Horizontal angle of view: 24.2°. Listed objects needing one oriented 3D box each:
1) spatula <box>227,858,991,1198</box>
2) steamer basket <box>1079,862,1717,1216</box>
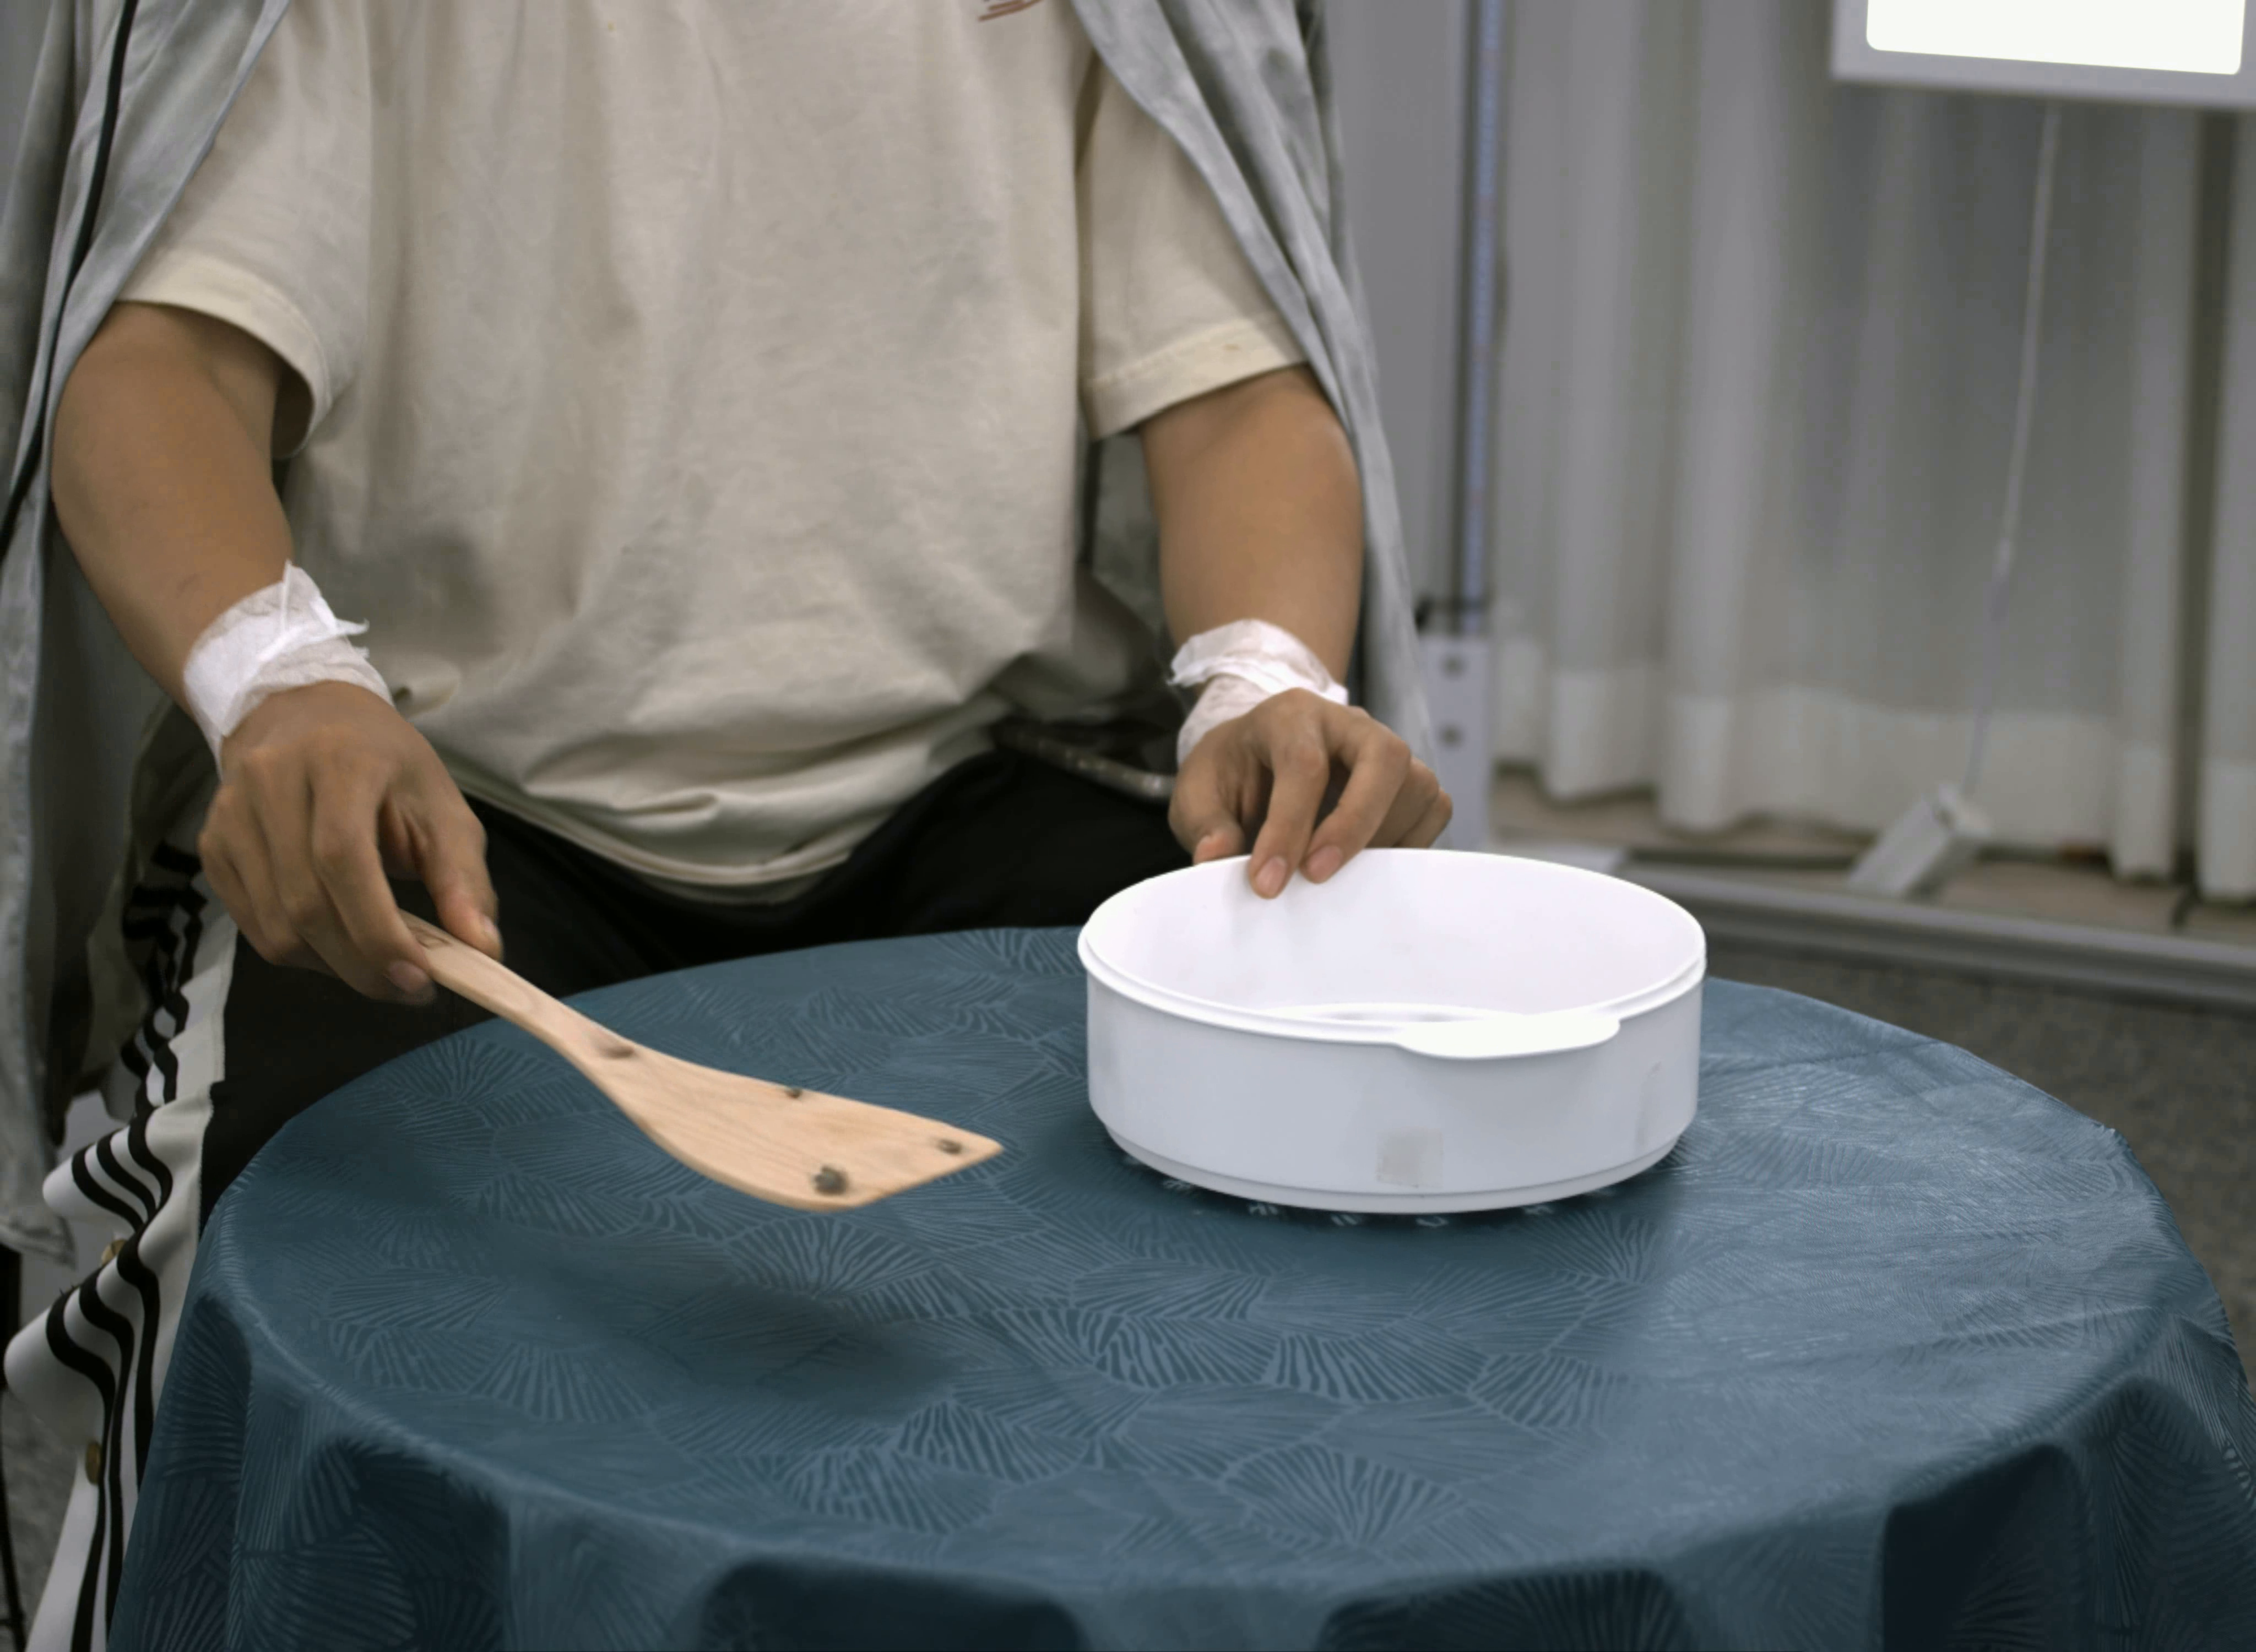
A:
[{"bbox_3d":[-0.167,0.055,1.564,0.080,0.016,0.323,-12,25,-43],"label":"spatula"},{"bbox_3d":[0.085,0.067,1.670,0.202,0.070,0.228,-3,15,-18],"label":"steamer basket"}]
